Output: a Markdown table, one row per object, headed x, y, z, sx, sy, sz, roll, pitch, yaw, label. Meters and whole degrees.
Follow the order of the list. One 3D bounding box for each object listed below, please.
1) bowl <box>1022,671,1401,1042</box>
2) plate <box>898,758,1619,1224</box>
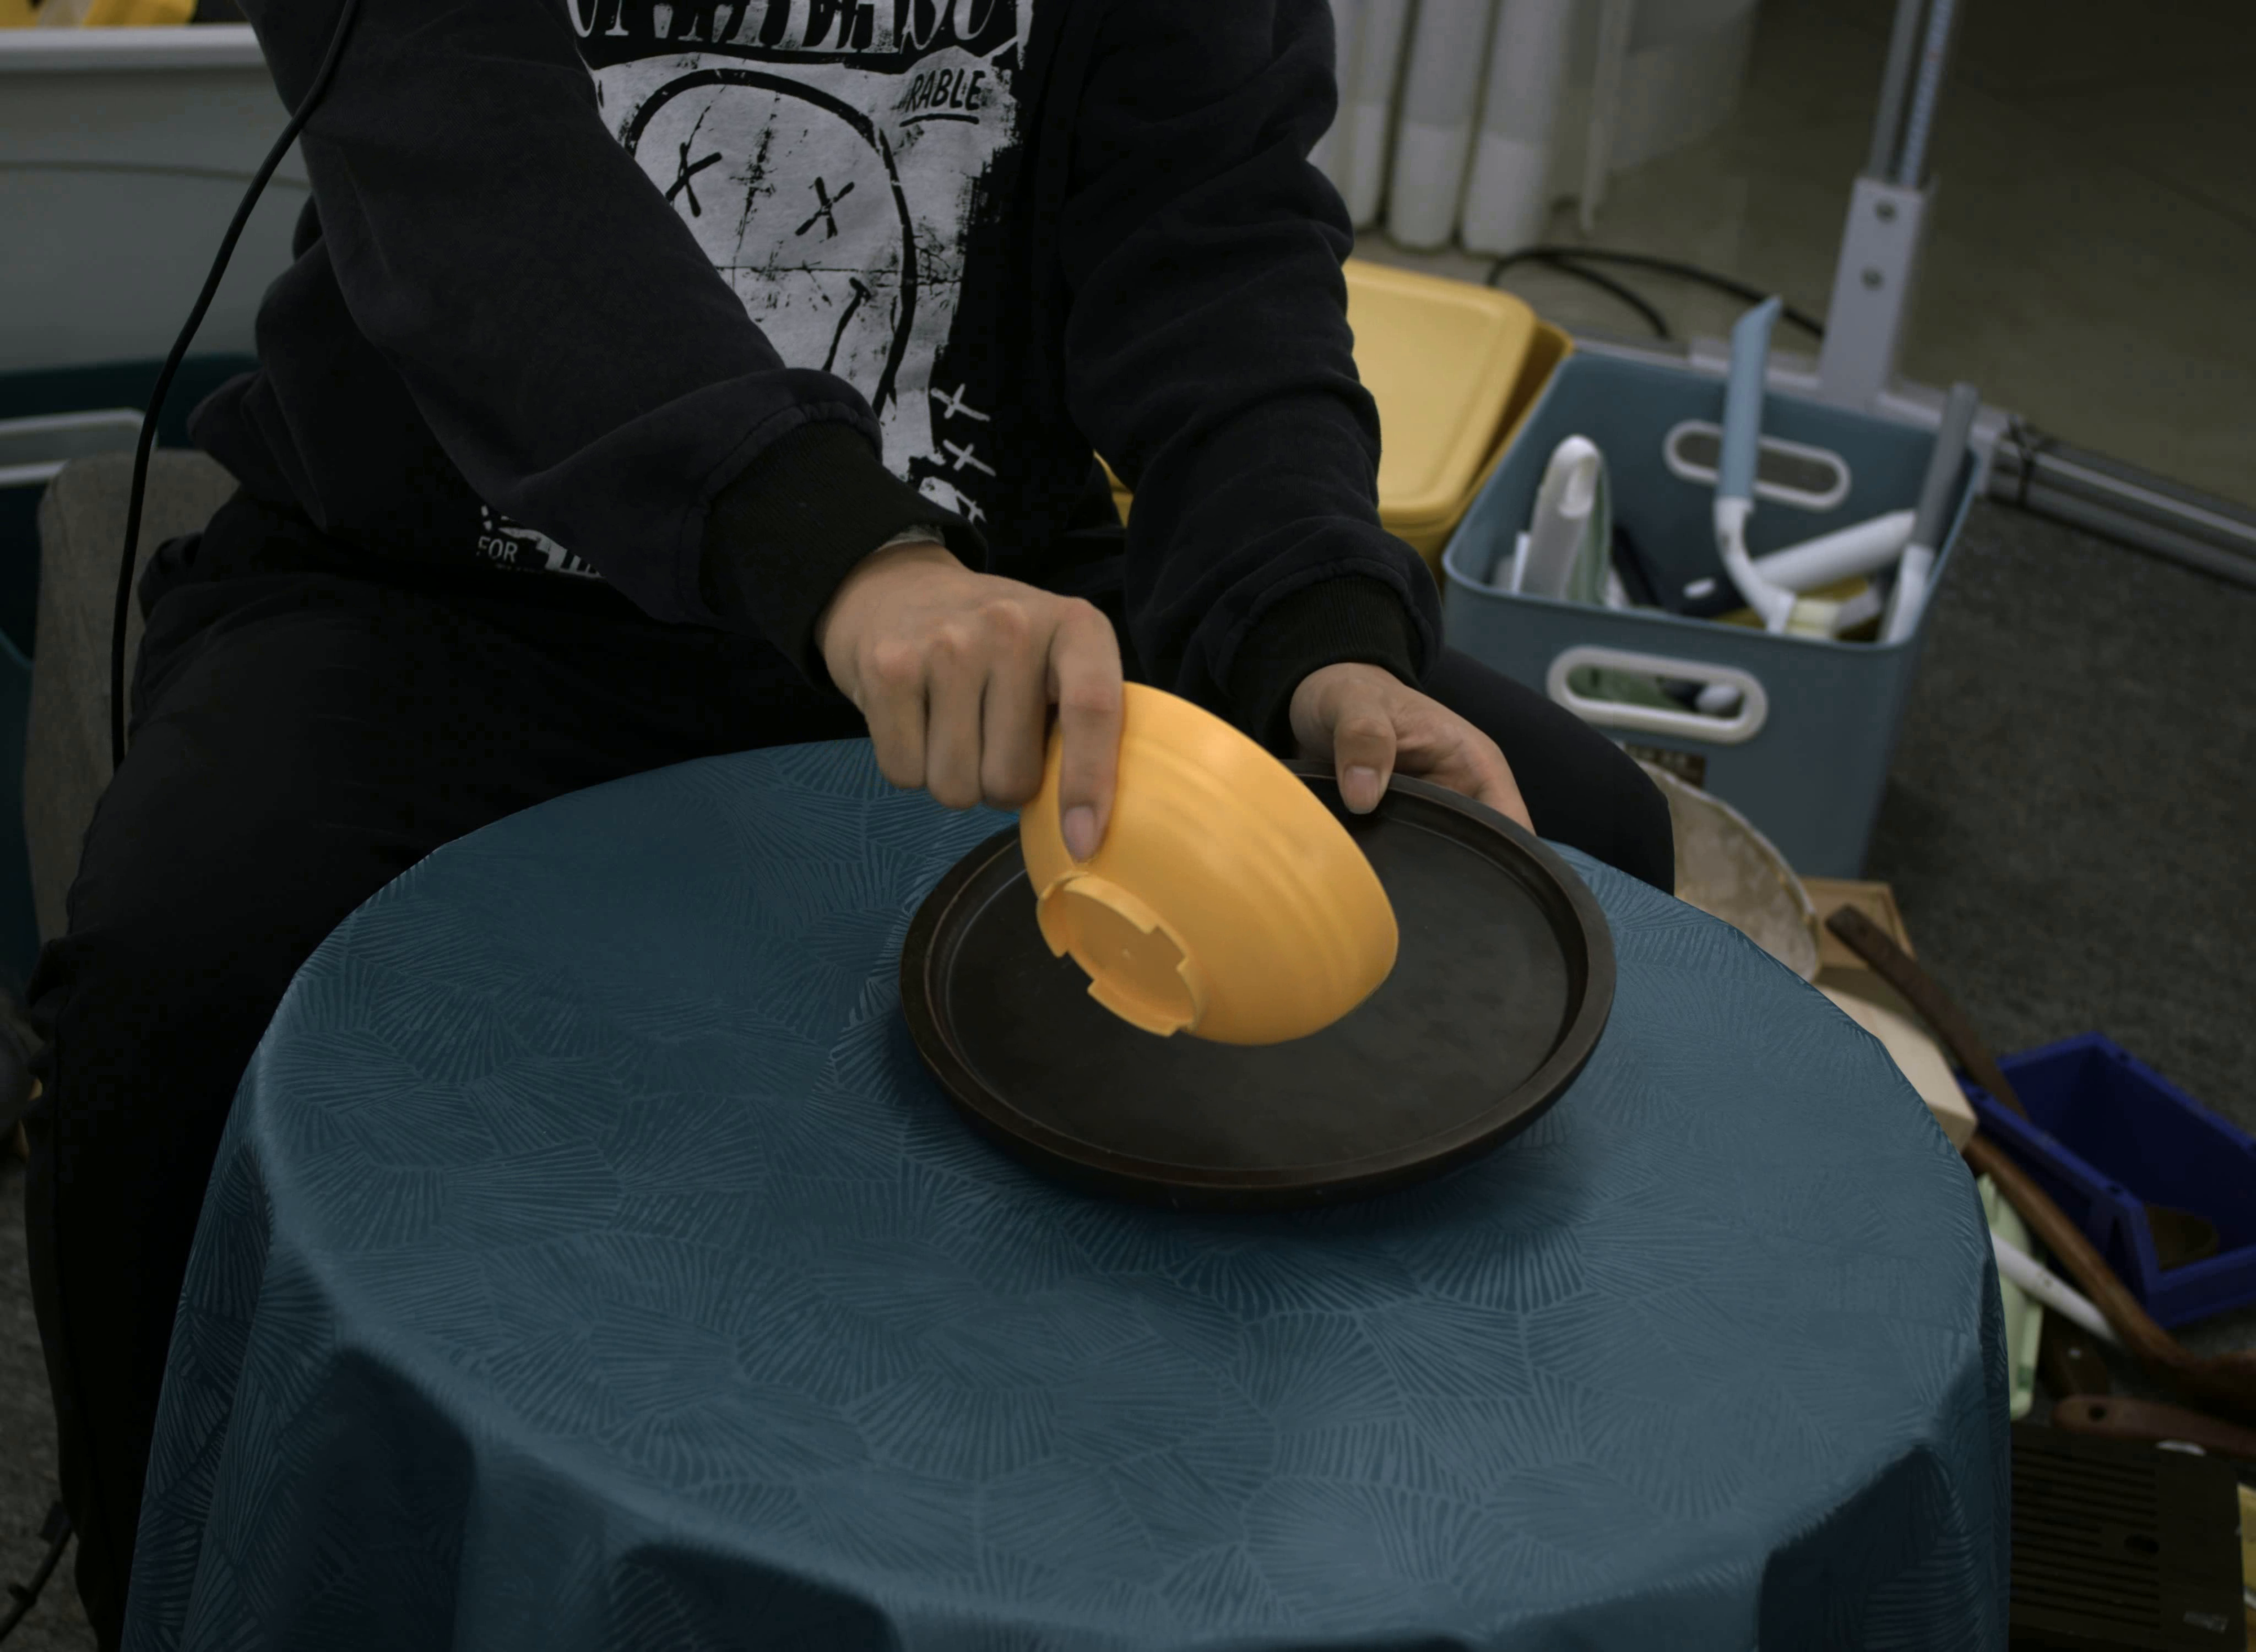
| x | y | z | sx | sy | sz | roll | pitch | yaw | label |
| --- | --- | --- | --- | --- | --- | --- | --- | --- | --- |
| 0.014 | 0.023 | 1.728 | 0.146 | 0.144 | 0.060 | 26 | 59 | 32 | bowl |
| 0.046 | 0.056 | 1.872 | 0.254 | 0.029 | 0.256 | -4 | 35 | 2 | plate |
